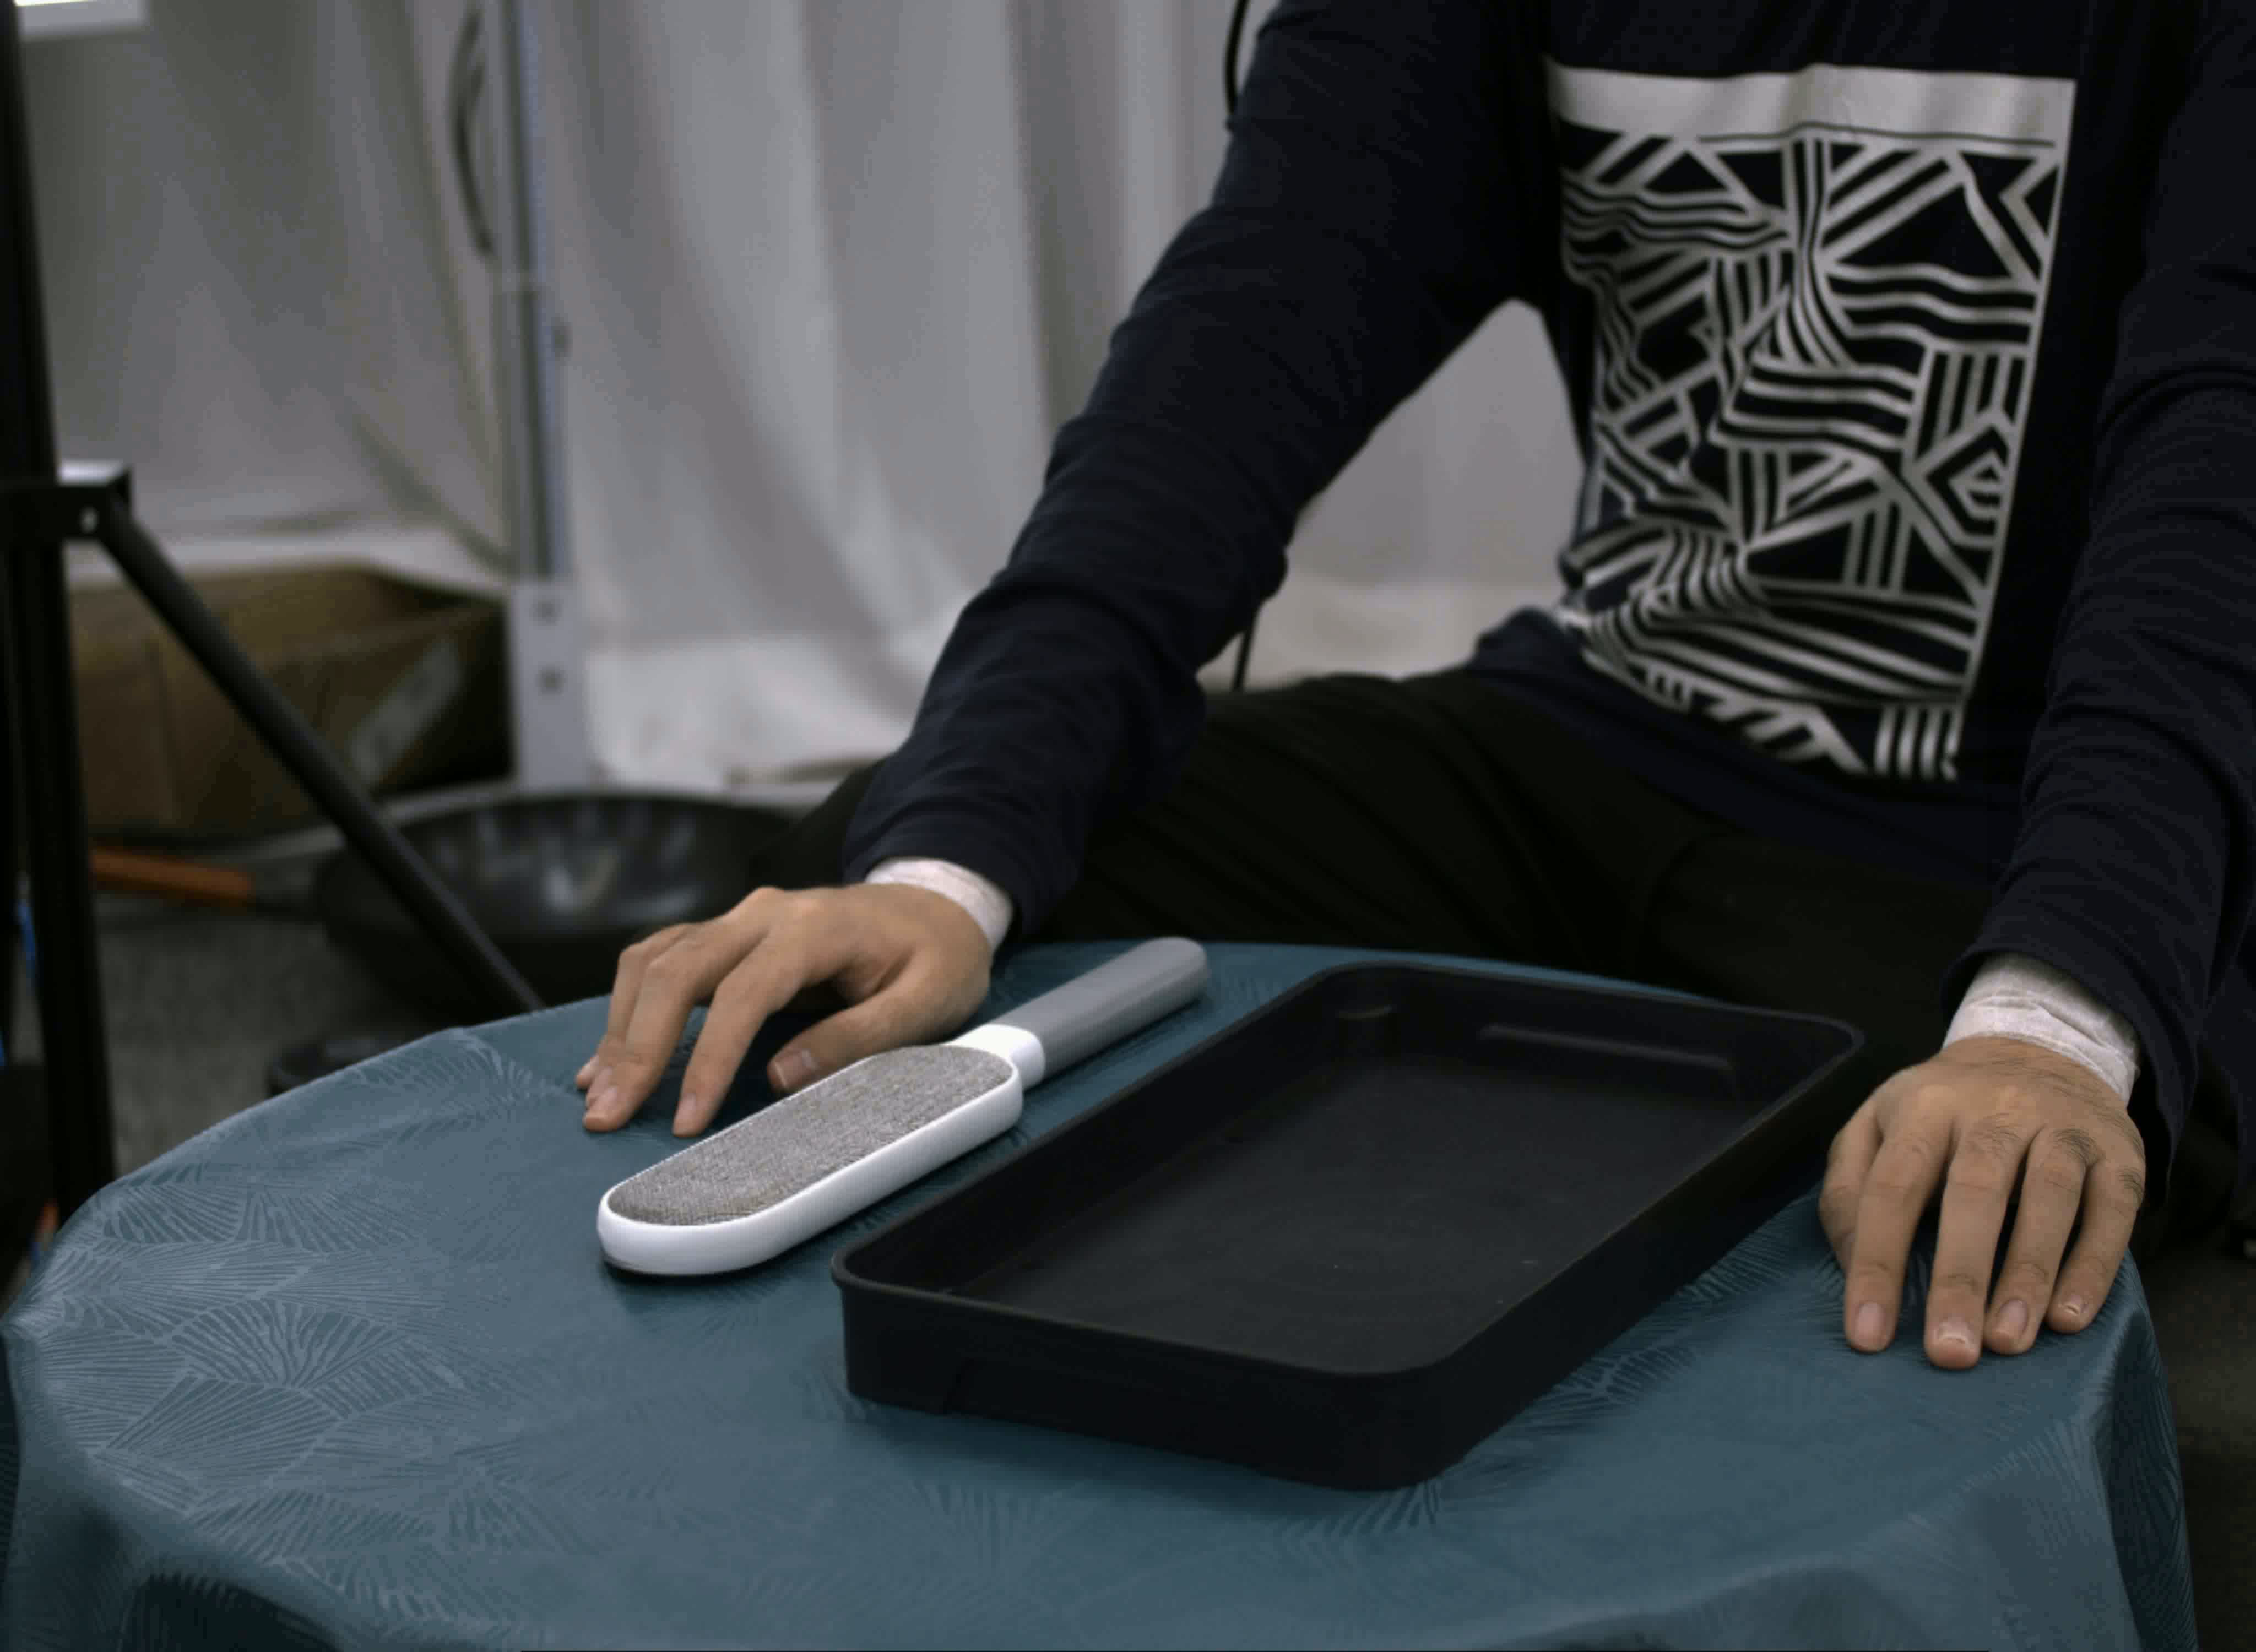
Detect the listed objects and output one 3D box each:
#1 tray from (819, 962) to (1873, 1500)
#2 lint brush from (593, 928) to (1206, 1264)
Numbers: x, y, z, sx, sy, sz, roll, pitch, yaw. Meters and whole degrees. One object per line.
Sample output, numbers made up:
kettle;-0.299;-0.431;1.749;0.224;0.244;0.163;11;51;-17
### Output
tray;0.069;0.106;1.493;0.188;0.037;0.312;8;19;31
lint brush;-0.059;0.079;1.623;0.061;0.021;0.303;2;16;32
